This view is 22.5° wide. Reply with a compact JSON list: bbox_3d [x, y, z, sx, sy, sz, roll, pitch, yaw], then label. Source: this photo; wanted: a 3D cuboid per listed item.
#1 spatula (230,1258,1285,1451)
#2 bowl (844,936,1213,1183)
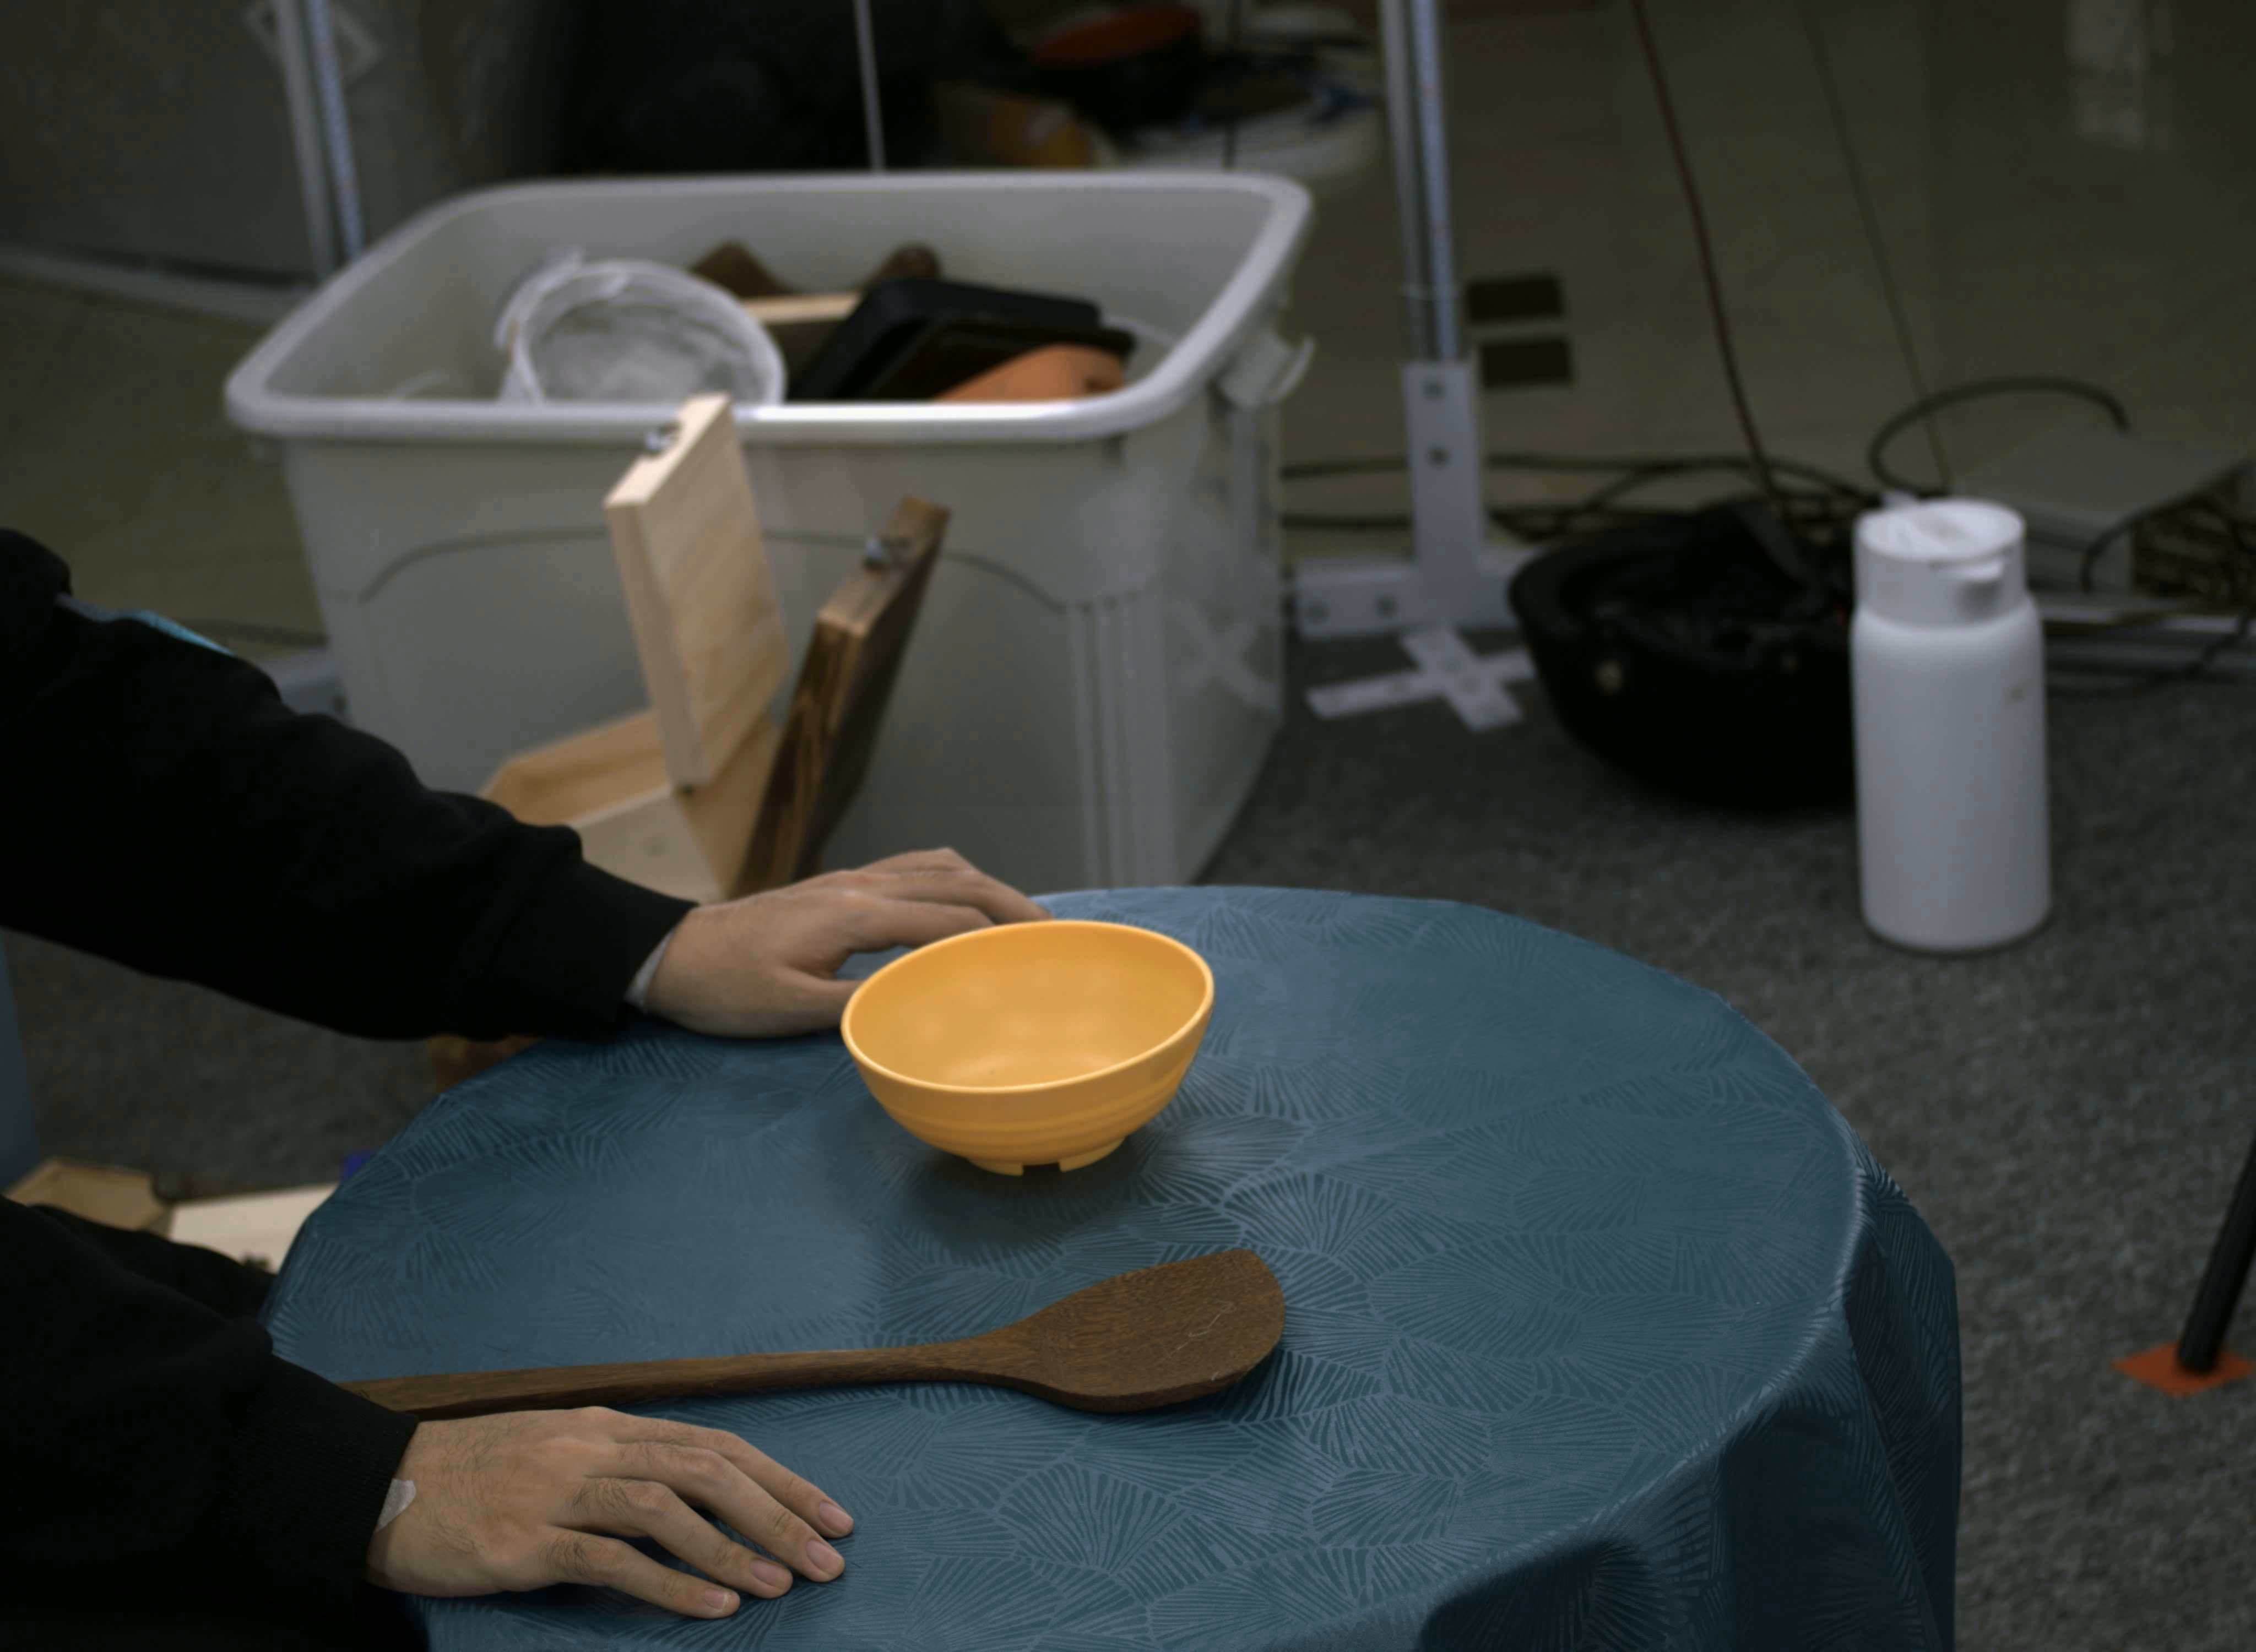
[{"bbox_3d":[-0.135,0.197,2.045,0.385,0.016,0.095,-5,24,3],"label":"spatula"},{"bbox_3d":[-0.035,0.097,2.186,0.145,0.061,0.143,-6,23,3],"label":"bowl"}]
